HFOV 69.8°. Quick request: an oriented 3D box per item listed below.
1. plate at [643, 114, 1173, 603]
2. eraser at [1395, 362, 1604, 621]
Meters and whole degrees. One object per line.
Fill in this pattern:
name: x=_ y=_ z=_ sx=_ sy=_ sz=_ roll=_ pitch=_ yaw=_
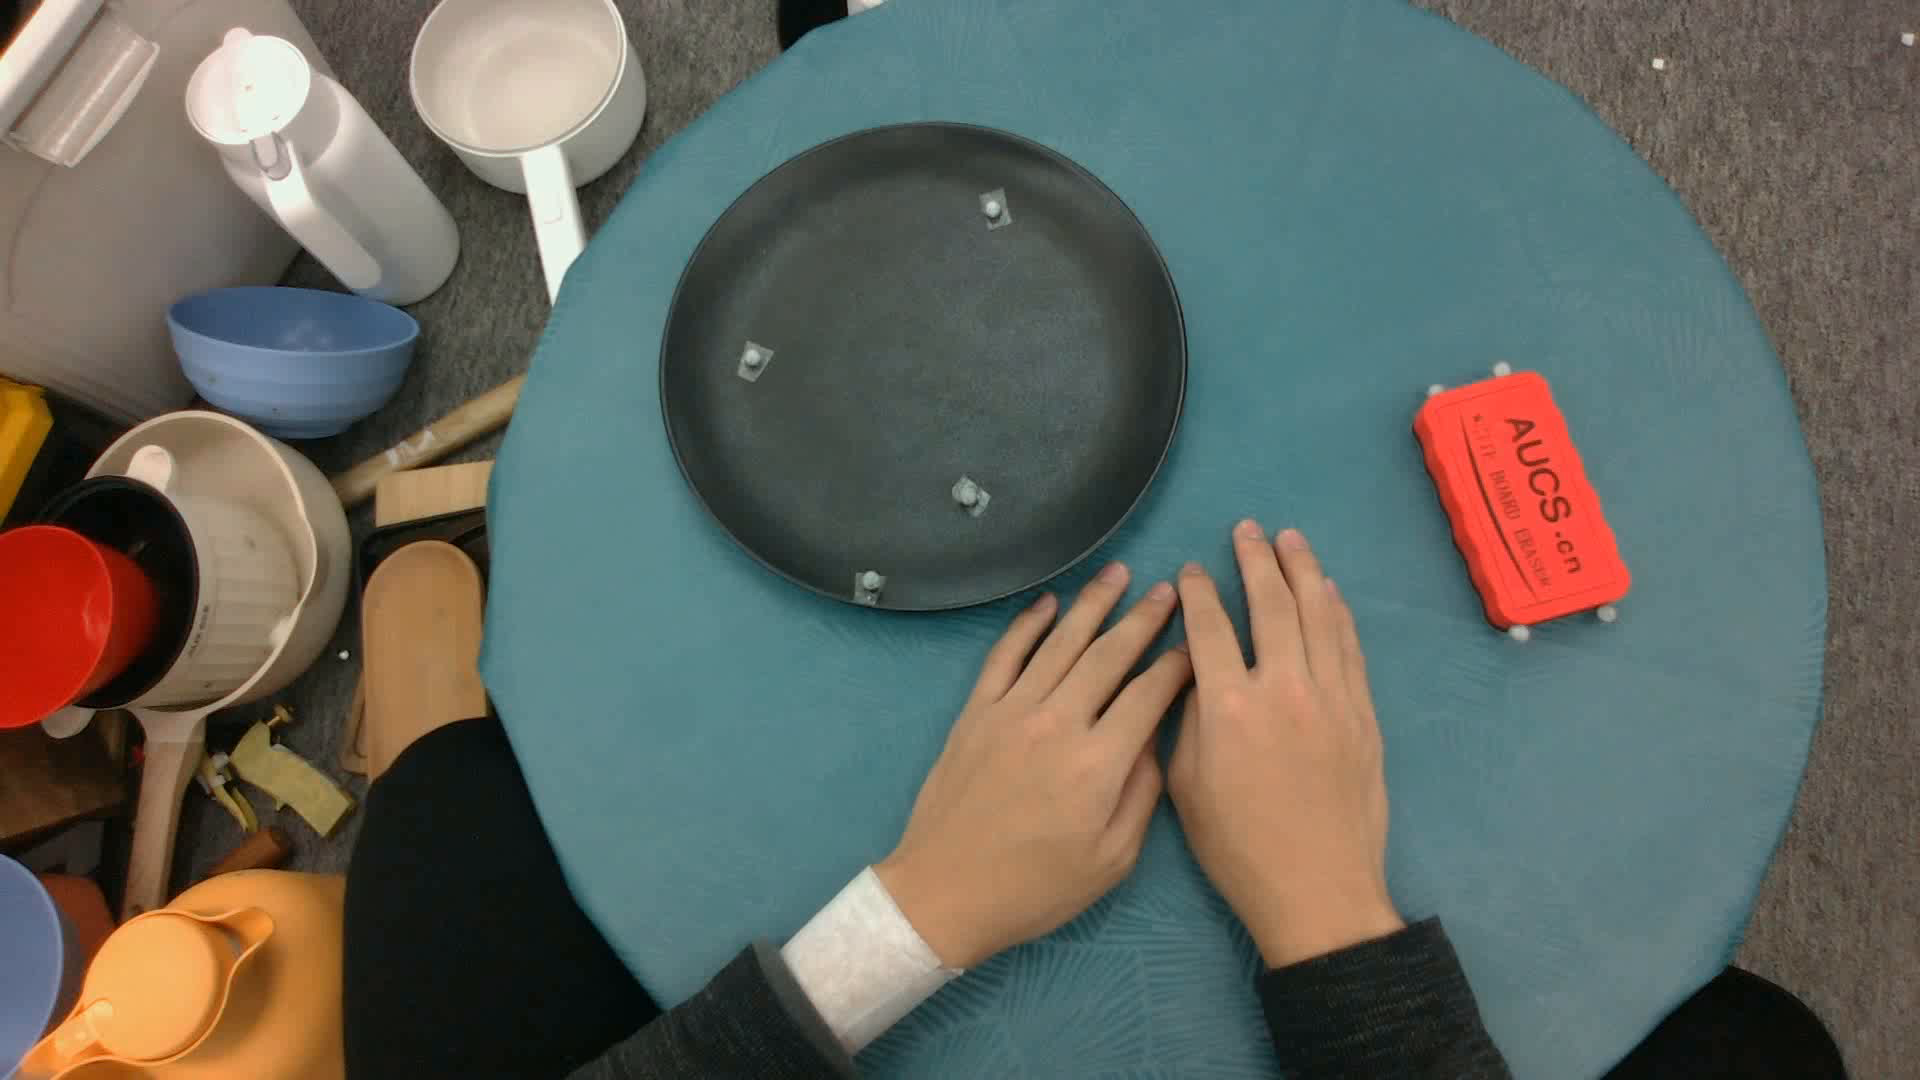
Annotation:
plate: x=-0.024 y=-0.087 z=0.640 sx=0.244 sy=0.023 sz=0.245 roll=0 pitch=74 yaw=2
eraser: x=0.237 y=-0.022 z=0.610 sx=0.059 sy=0.023 sz=0.108 roll=-15 pitch=73 yaw=0
